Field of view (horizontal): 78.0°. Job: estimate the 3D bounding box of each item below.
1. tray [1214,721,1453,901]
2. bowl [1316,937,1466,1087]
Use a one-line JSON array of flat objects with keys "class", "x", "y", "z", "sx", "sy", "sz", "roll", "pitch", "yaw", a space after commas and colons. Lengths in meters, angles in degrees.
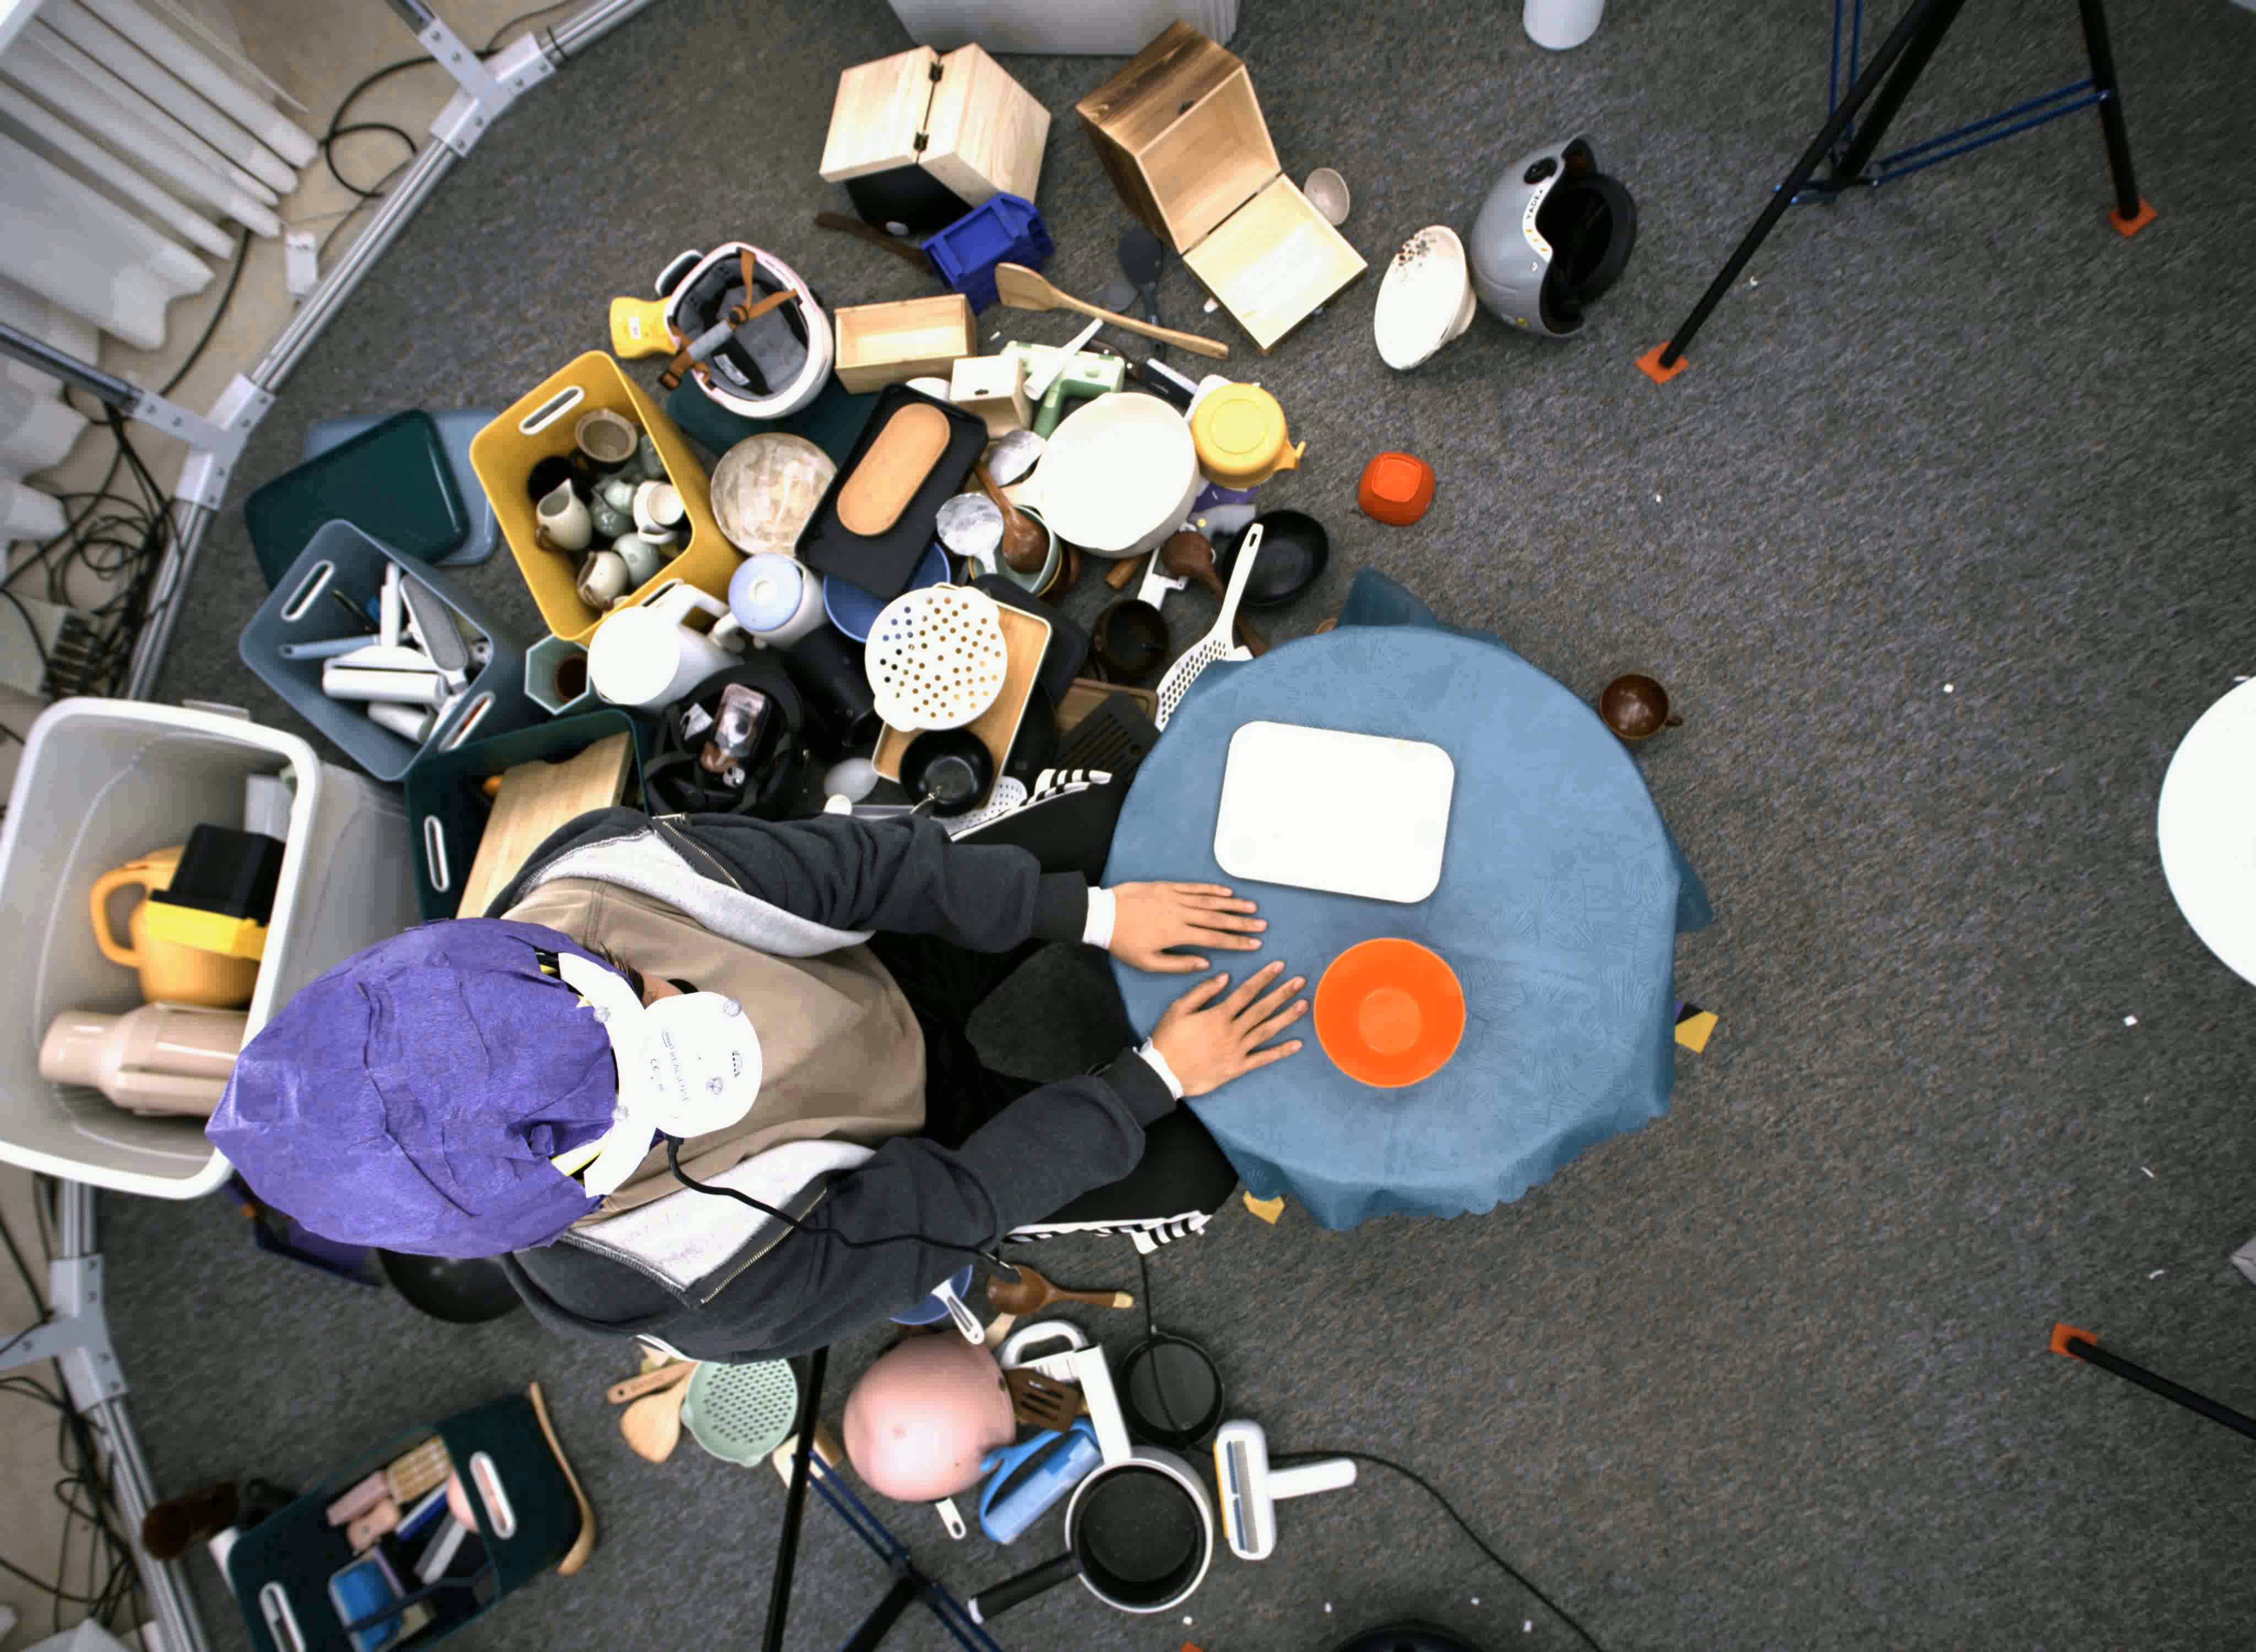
[{"class": "tray", "x": 0.217, "y": -0.017, "z": 1.465, "sx": 0.240, "sy": 0.017, "sz": 0.171, "roll": 8, "pitch": 89, "yaw": 11}, {"class": "bowl", "x": 0.265, "y": 0.187, "z": 1.403, "sx": 0.148, "sy": 0.105, "sz": 0.147, "roll": -1, "pitch": 85, "yaw": 9}]
